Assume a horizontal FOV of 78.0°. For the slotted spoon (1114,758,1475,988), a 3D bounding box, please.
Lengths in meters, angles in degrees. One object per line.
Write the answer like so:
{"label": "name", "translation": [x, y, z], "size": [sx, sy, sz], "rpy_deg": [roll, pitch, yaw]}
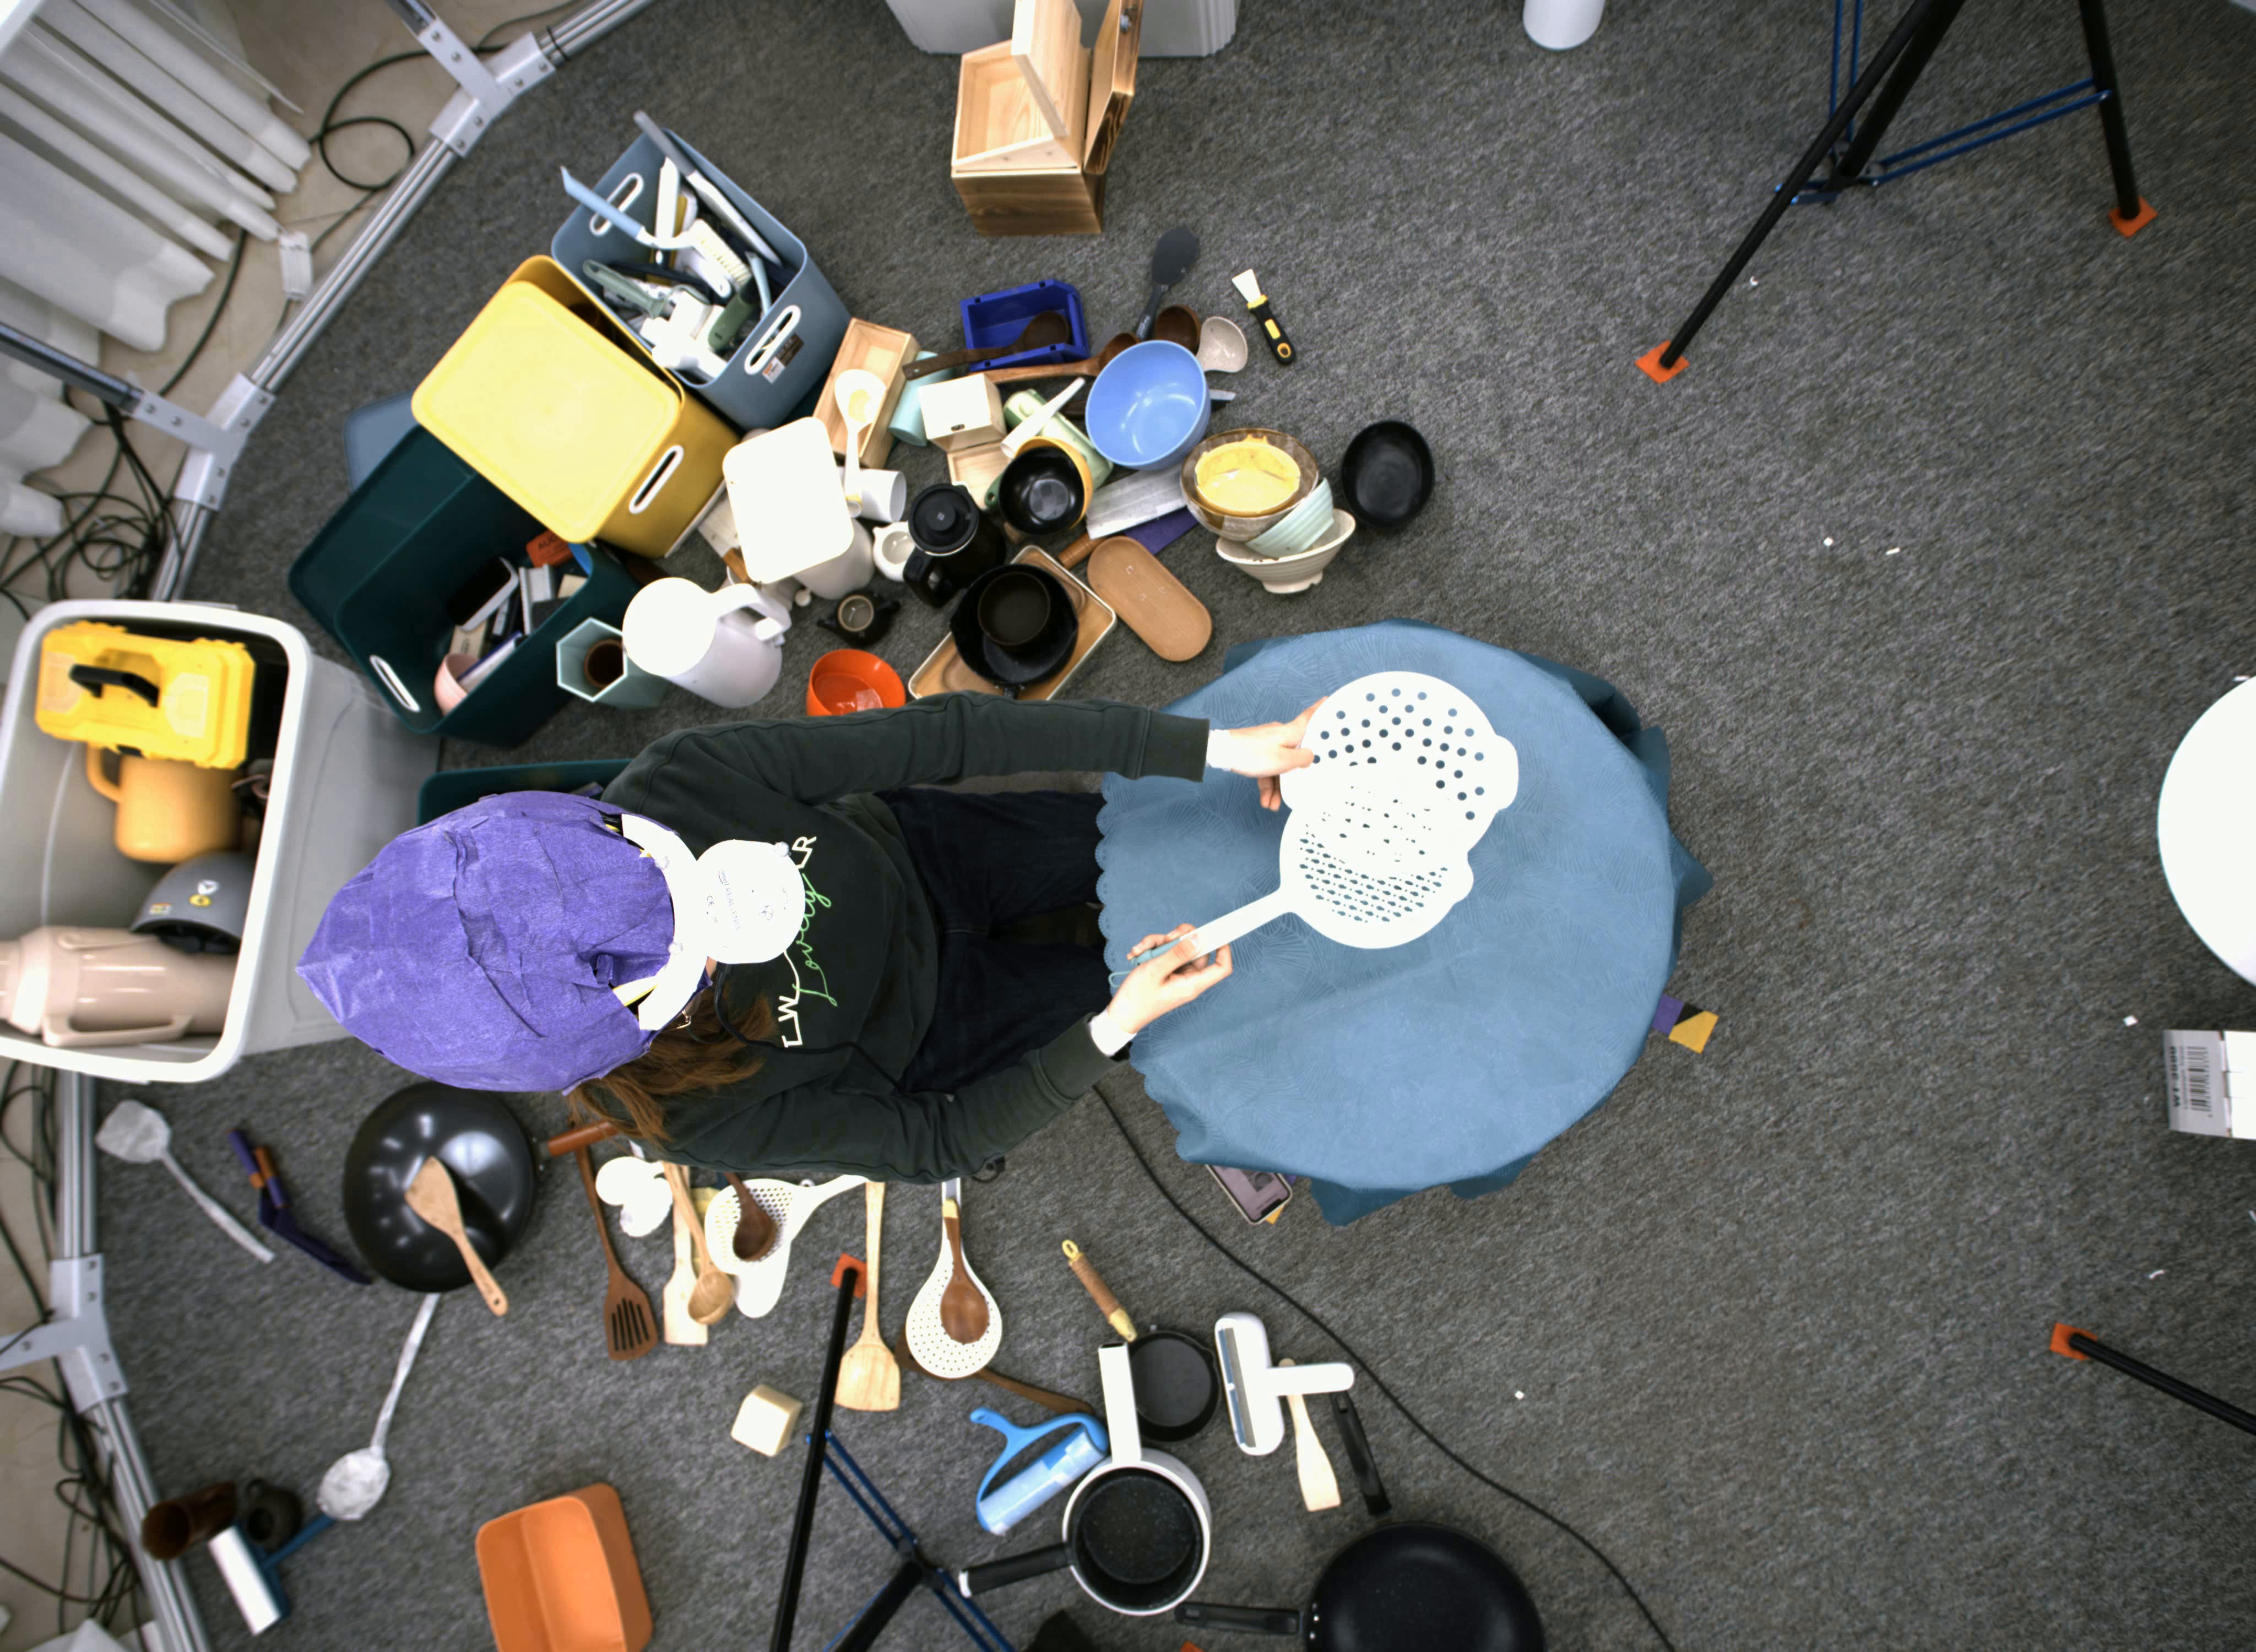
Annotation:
{"label": "slotted spoon", "translation": [0.146, 0.071, 1.306], "size": [0.360, 0.075, 0.168], "rpy_deg": [-27, 85, 5]}

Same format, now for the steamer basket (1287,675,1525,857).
{"label": "steamer basket", "translation": [0.277, -0.049, 1.380], "size": [0.231, 0.069, 0.202], "rpy_deg": [-1, 91, 12]}
